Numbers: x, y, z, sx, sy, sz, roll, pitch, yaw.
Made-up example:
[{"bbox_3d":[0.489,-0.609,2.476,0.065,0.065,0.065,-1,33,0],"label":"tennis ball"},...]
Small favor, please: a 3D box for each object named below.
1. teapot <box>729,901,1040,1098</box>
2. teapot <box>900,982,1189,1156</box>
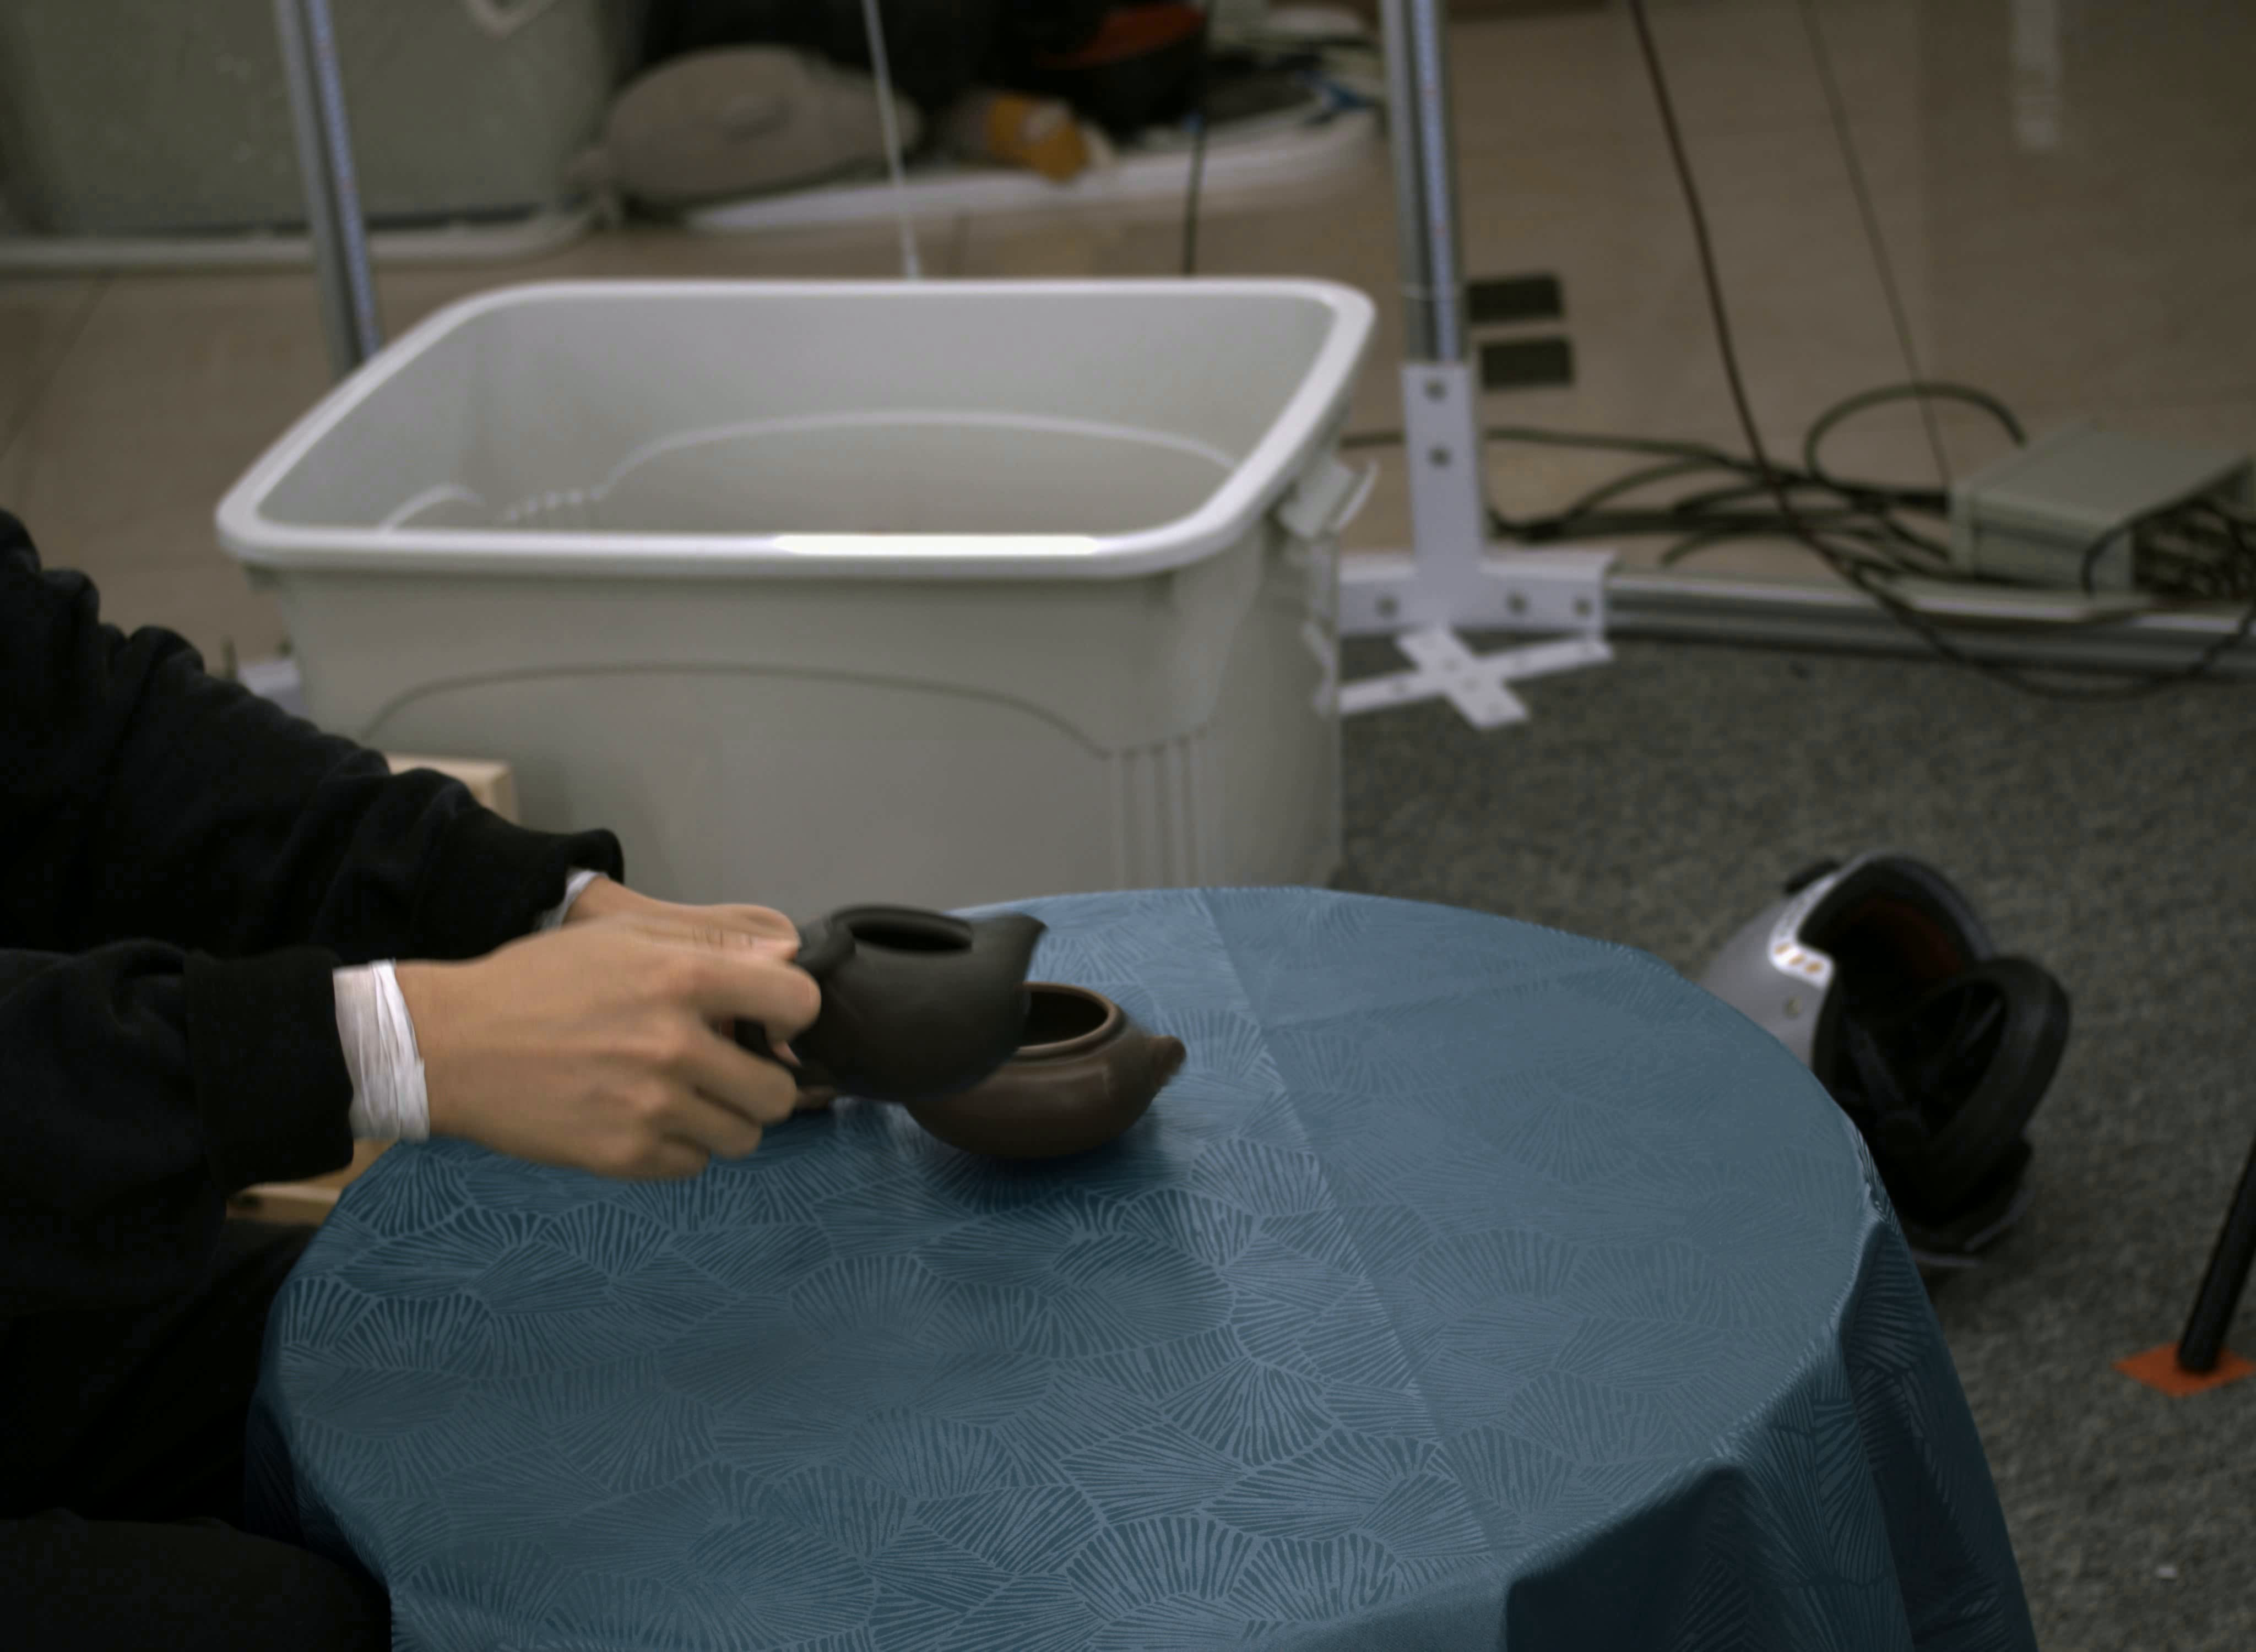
[{"bbox_3d":[-0.086,0.060,2.023,0.091,0.065,0.154,18,18,38],"label":"teapot"},{"bbox_3d":[-0.043,0.091,2.189,0.153,0.054,0.102,11,21,27],"label":"teapot"}]
